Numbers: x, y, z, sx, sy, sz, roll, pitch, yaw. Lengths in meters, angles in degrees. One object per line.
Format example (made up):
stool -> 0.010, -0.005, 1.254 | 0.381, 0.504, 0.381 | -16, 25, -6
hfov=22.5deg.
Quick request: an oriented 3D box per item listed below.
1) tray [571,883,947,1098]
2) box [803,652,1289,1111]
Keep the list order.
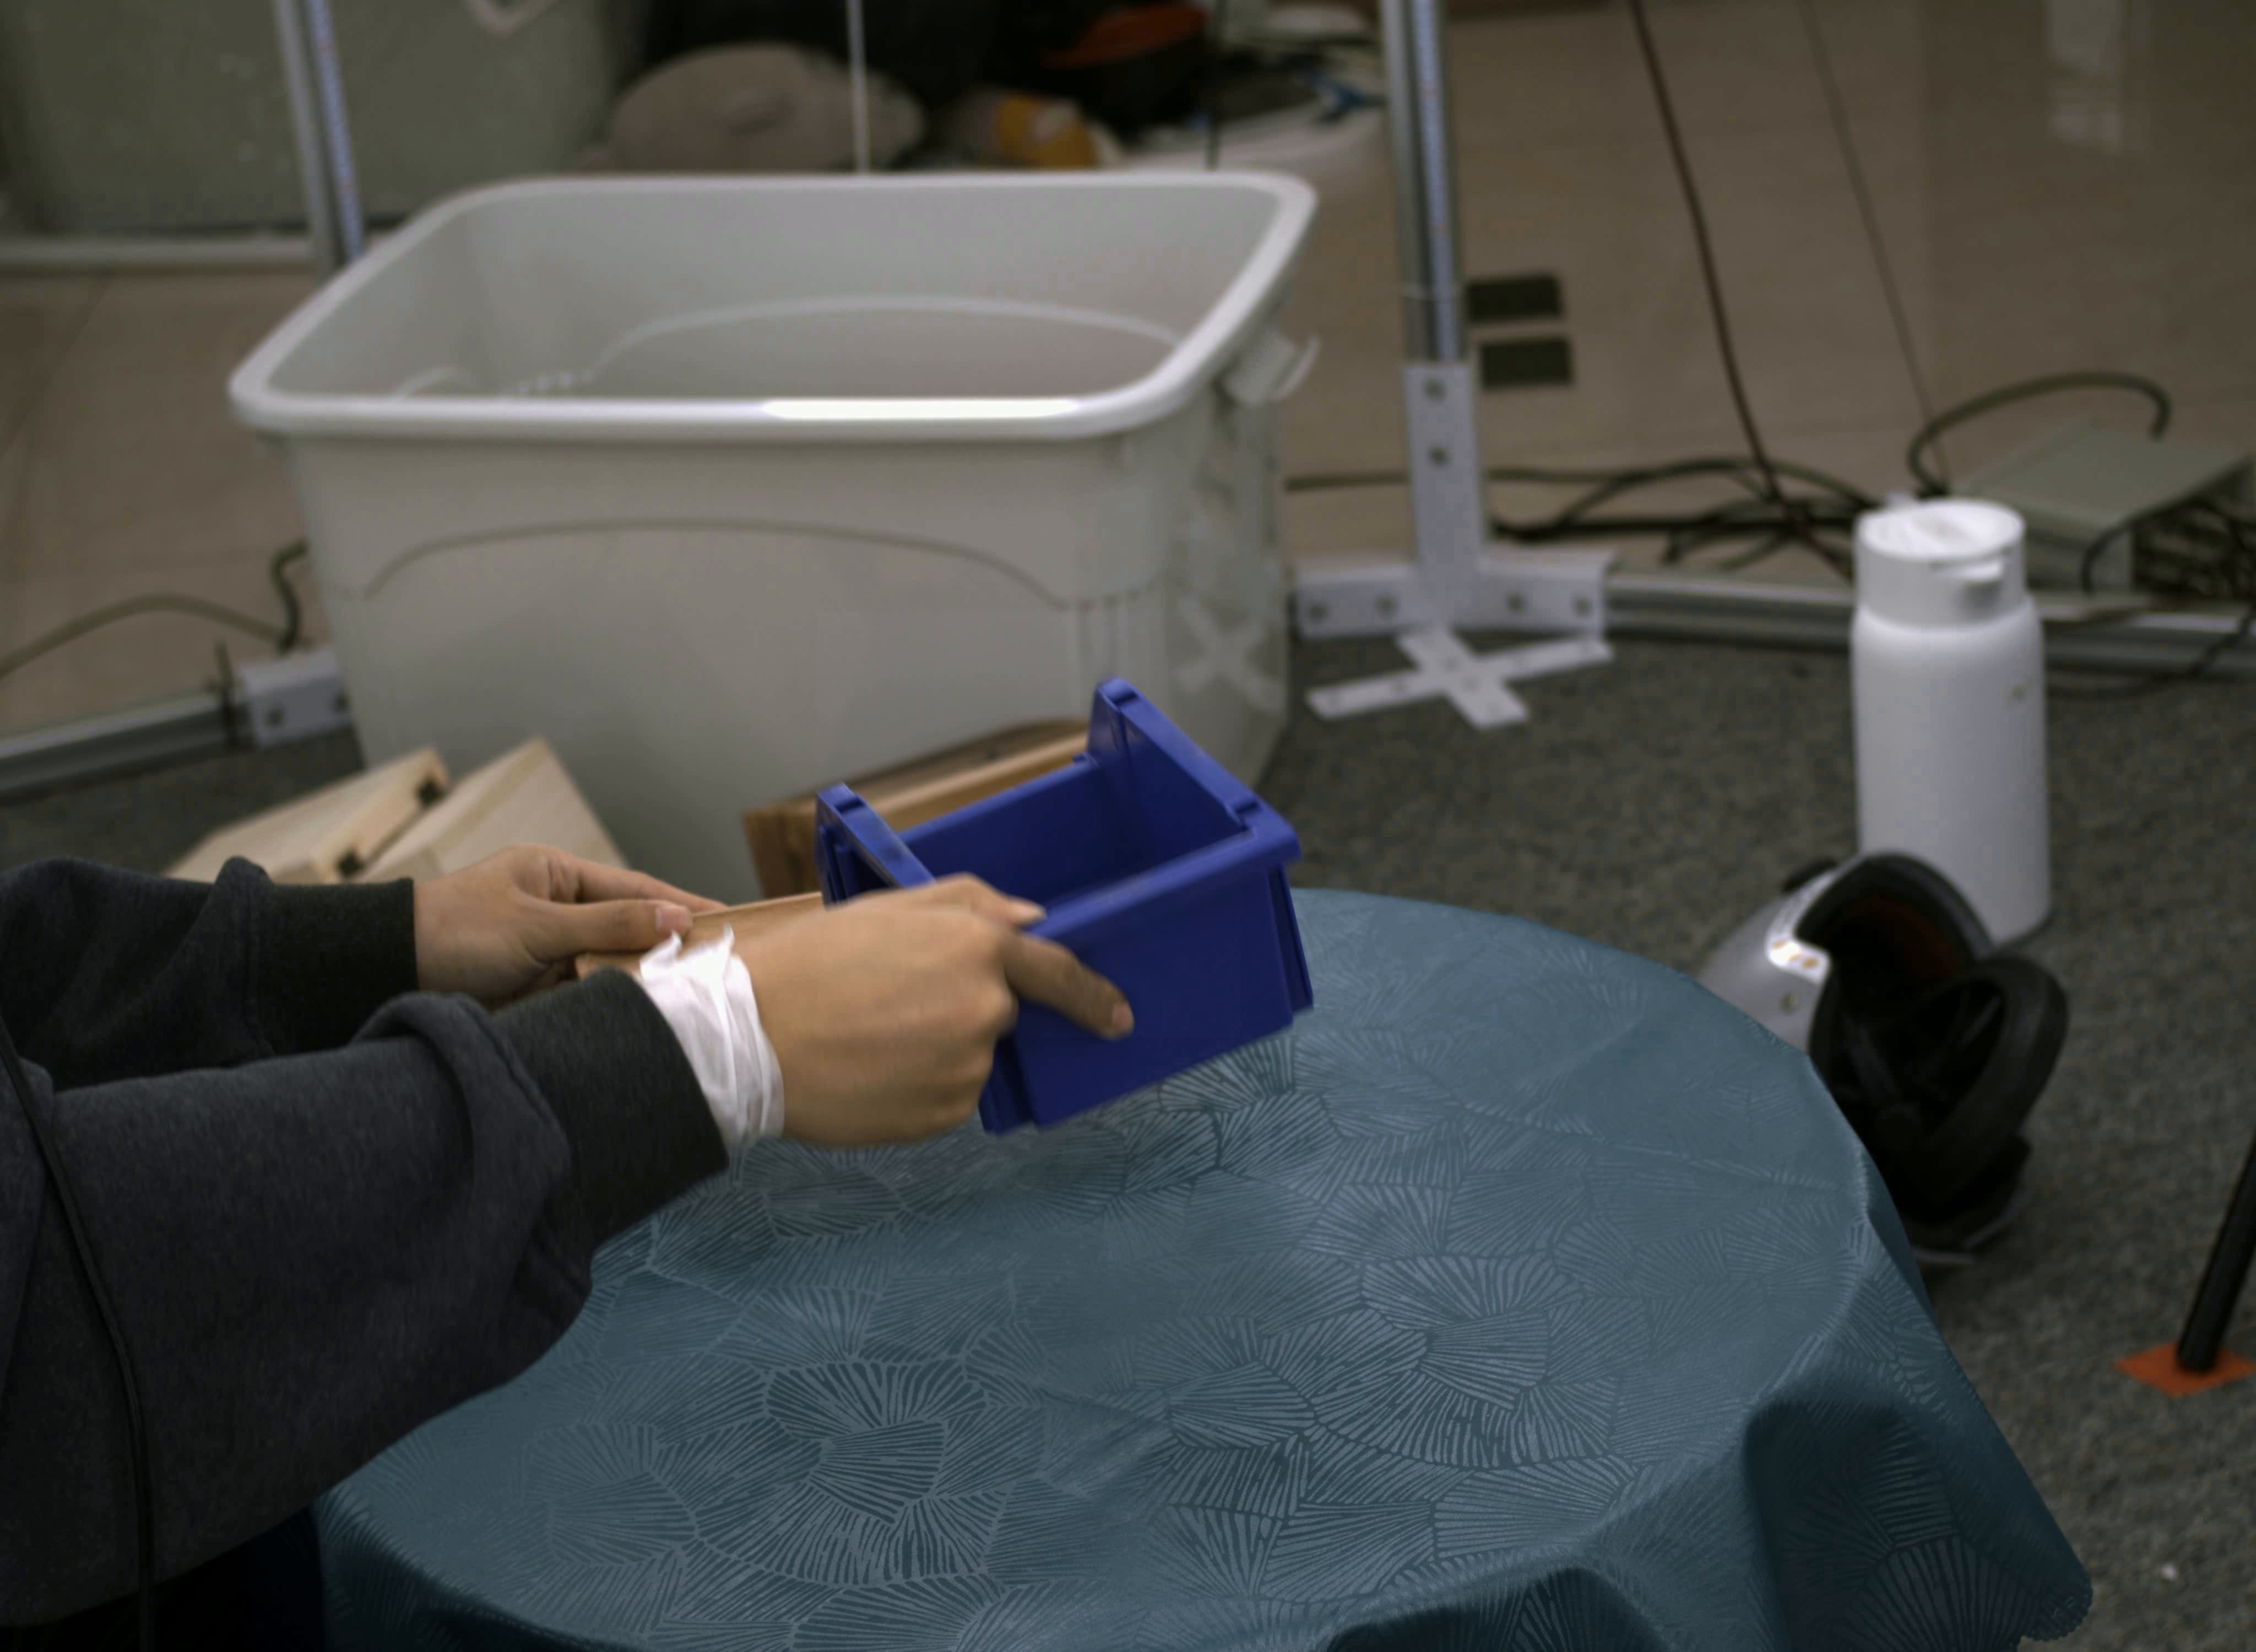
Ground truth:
tray -> -0.084, 0.054, 2.180 | 0.250, 0.023, 0.129 | -10, 26, -12
box -> -0.033, 0.016, 1.967 | 0.124, 0.083, 0.177 | -21, 33, -13
